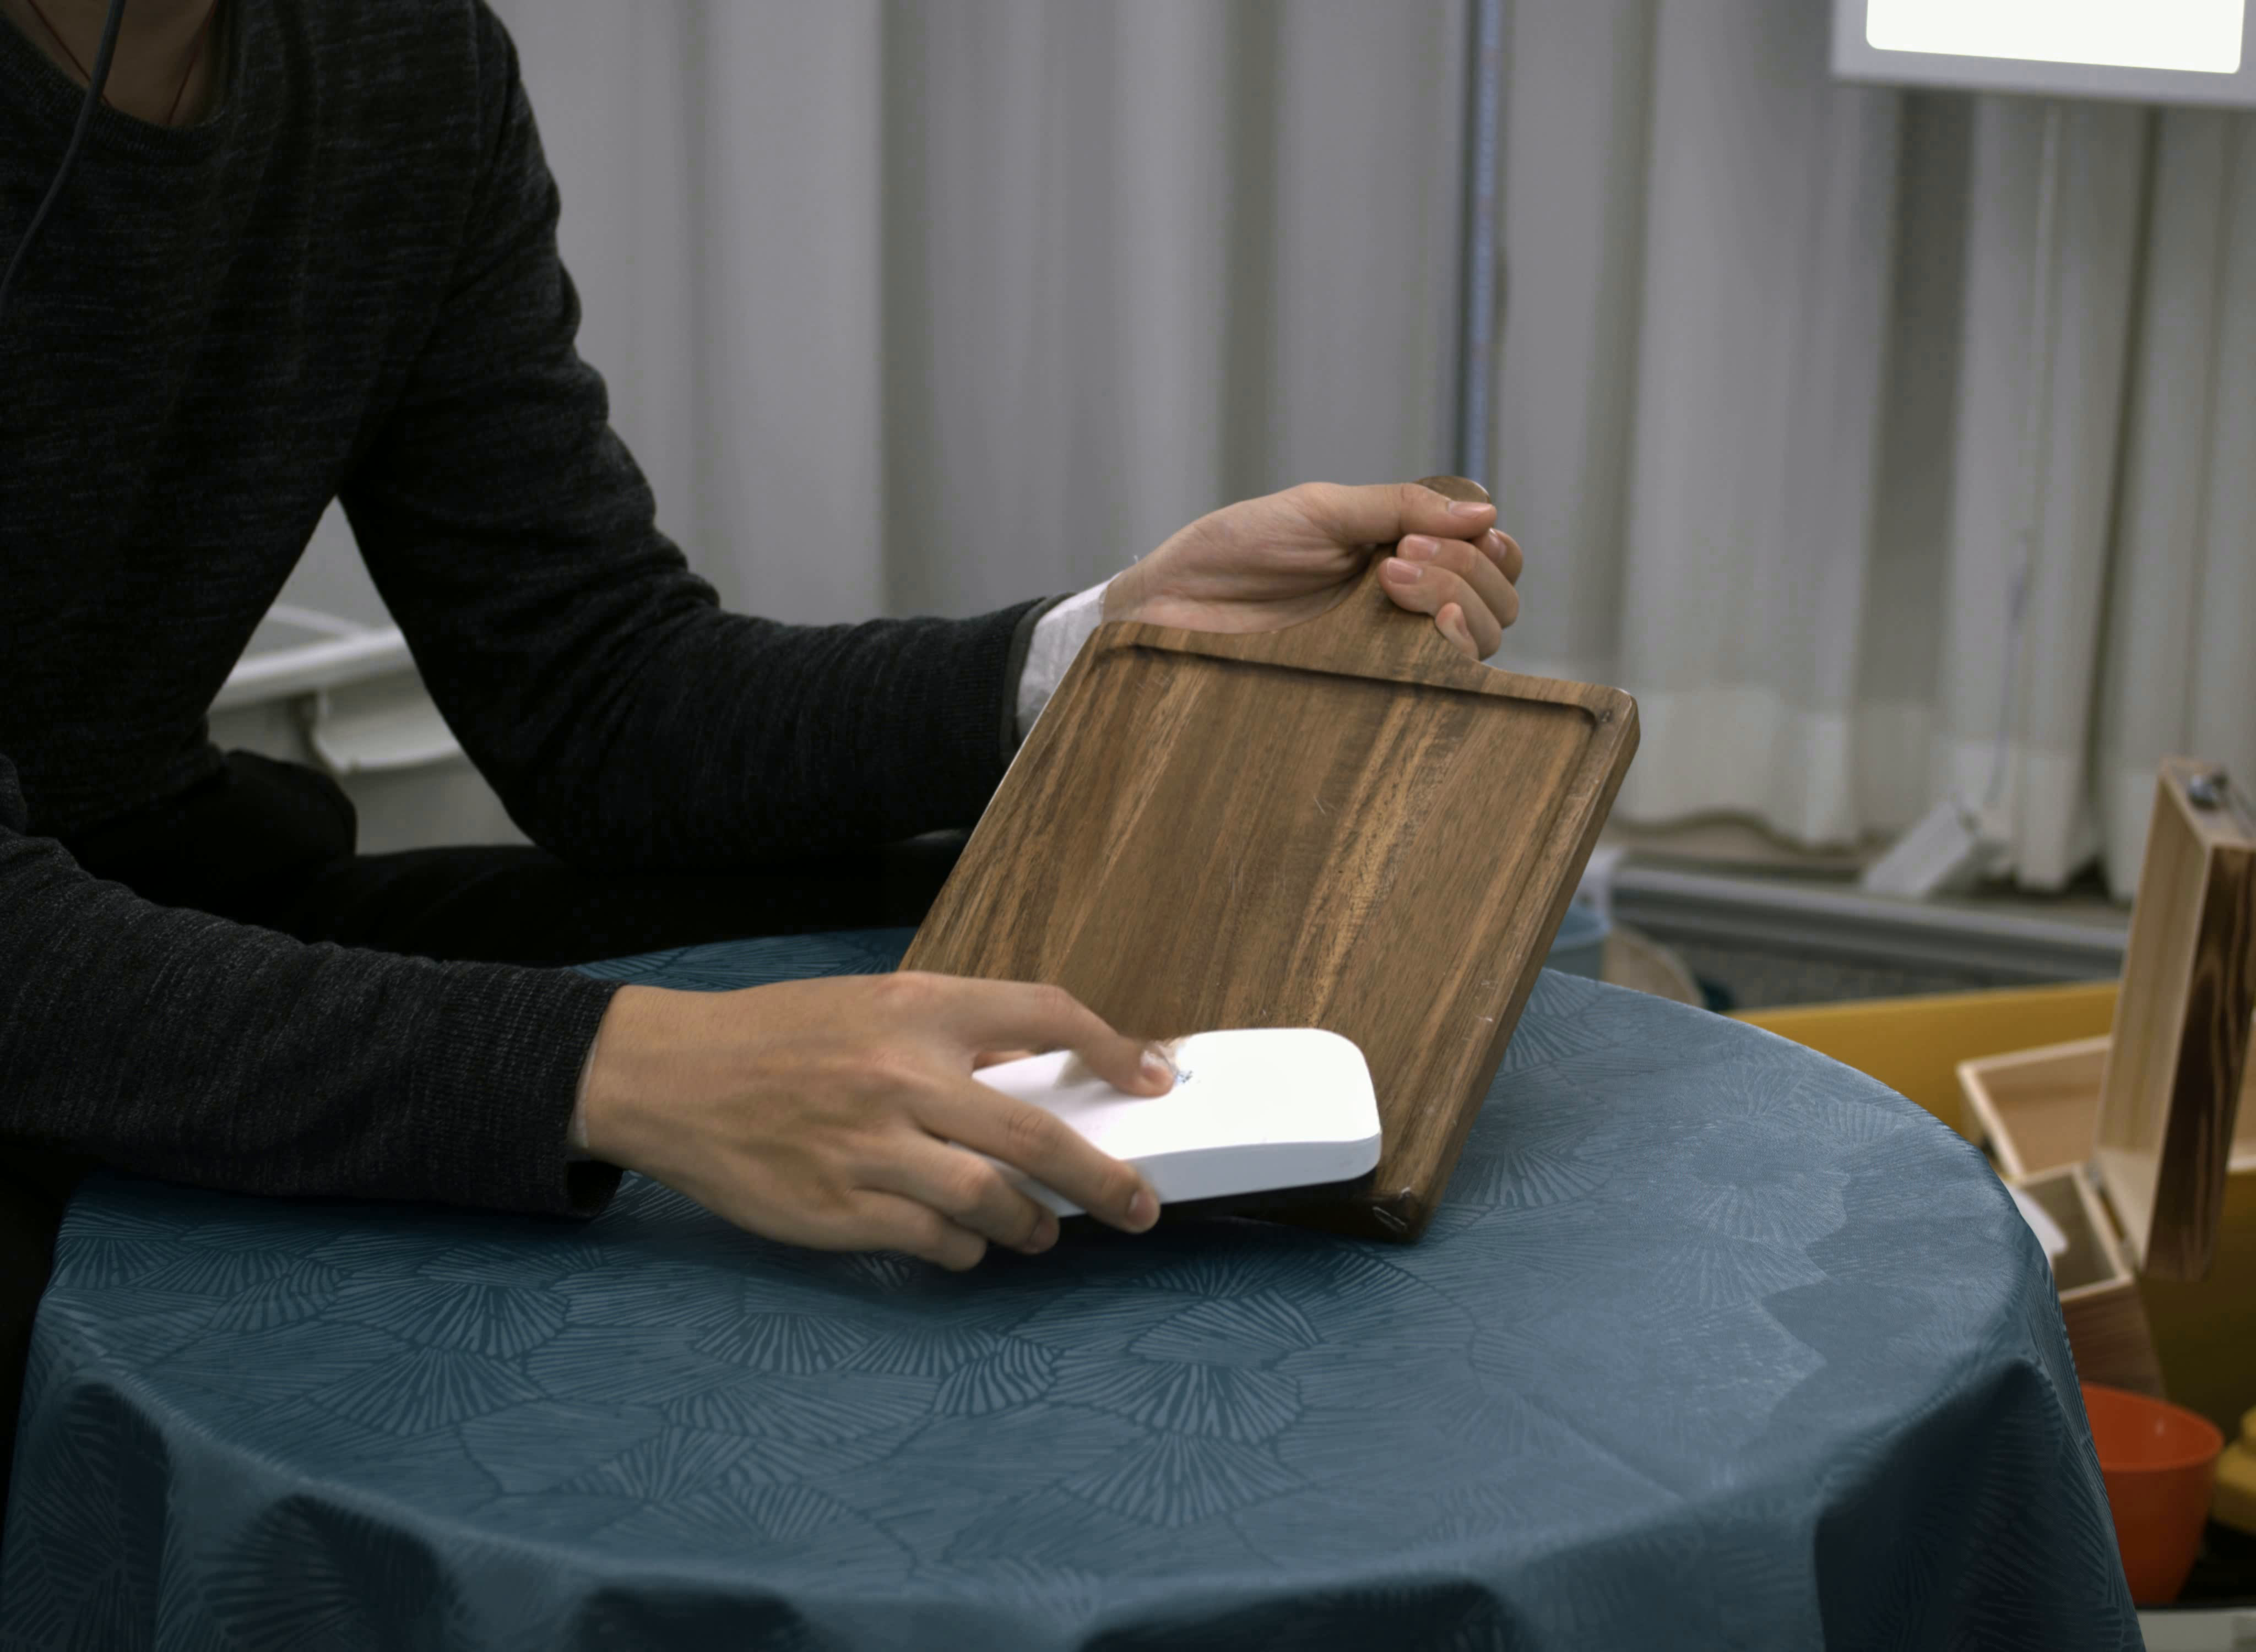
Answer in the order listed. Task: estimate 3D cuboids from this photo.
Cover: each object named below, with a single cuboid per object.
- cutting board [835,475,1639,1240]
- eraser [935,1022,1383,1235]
[{"bbox_3d":[0.055,-0.004,1.720,0.199,0.023,0.351,9,43,18],"label":"cutting board"},{"bbox_3d":[0.009,0.089,1.575,0.131,0.035,0.063,-5,33,-7],"label":"eraser"}]
